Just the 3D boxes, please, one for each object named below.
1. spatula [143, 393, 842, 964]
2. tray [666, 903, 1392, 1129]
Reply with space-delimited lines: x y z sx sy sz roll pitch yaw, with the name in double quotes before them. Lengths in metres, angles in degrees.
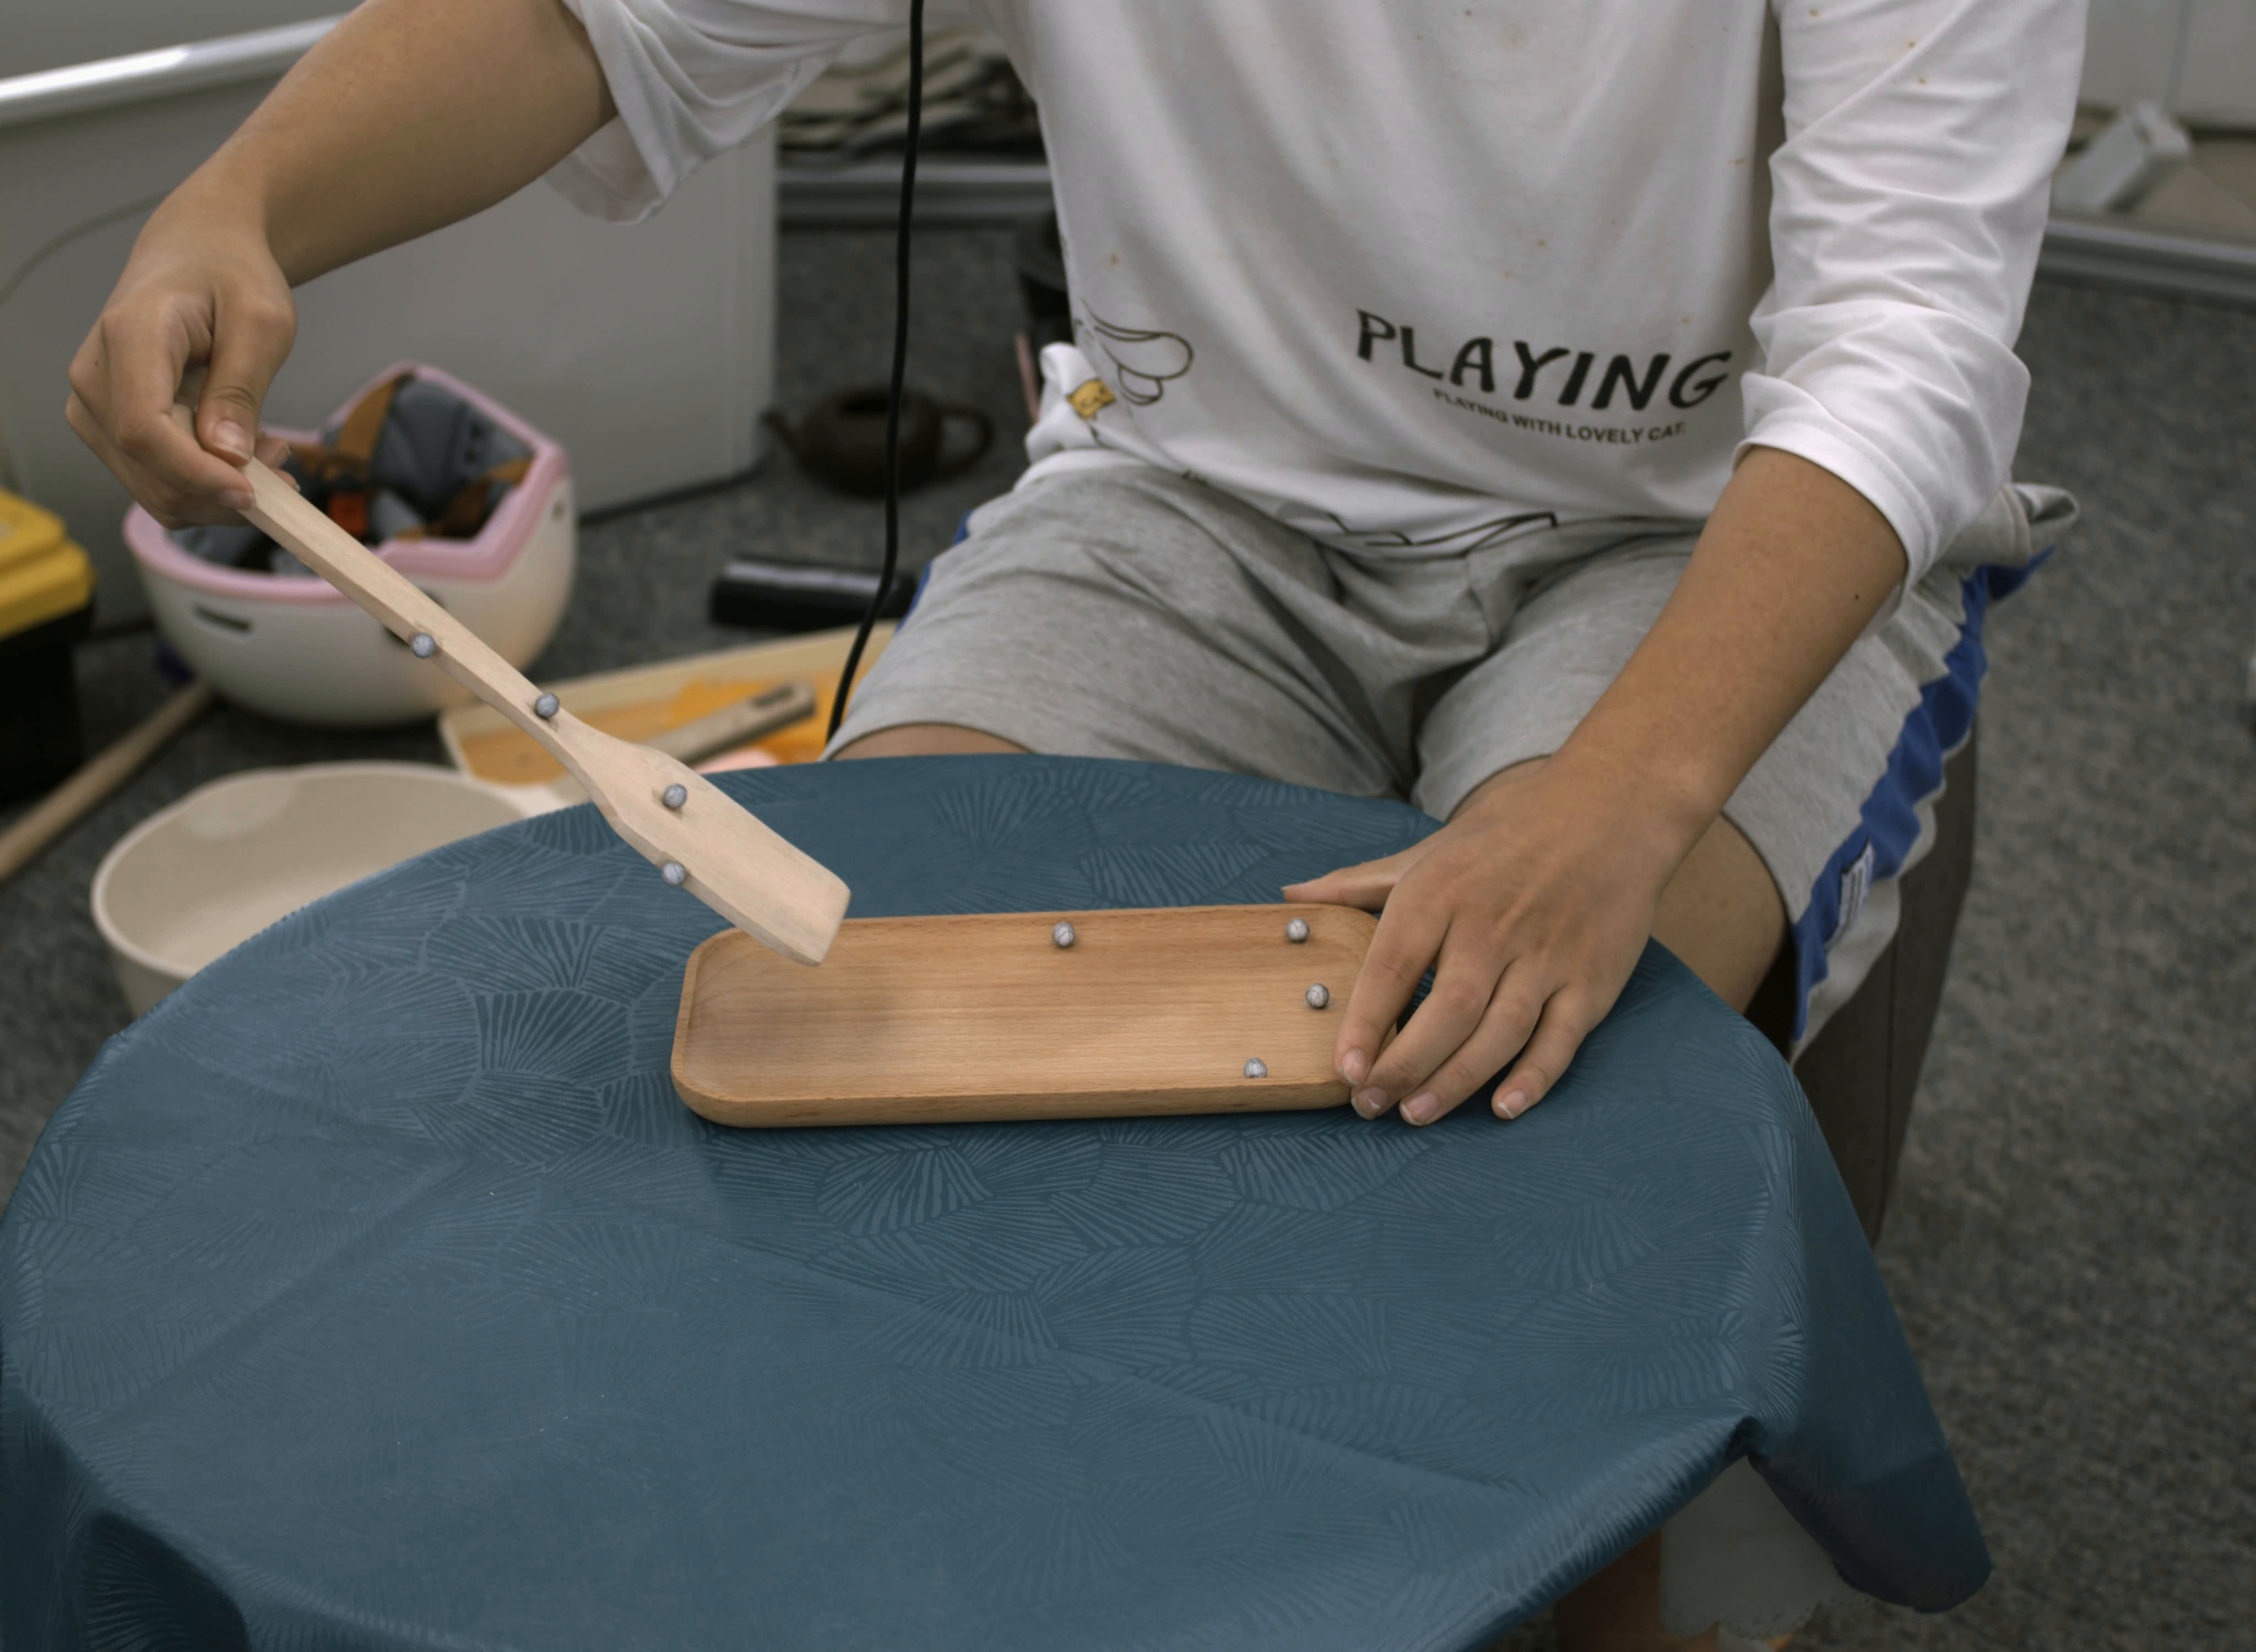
"spatula" -0.218 -0.052 1.919 0.292 0.010 0.073 38 22 -8
"tray" -0.033 0.067 1.958 0.249 0.022 0.132 -2 25 3
